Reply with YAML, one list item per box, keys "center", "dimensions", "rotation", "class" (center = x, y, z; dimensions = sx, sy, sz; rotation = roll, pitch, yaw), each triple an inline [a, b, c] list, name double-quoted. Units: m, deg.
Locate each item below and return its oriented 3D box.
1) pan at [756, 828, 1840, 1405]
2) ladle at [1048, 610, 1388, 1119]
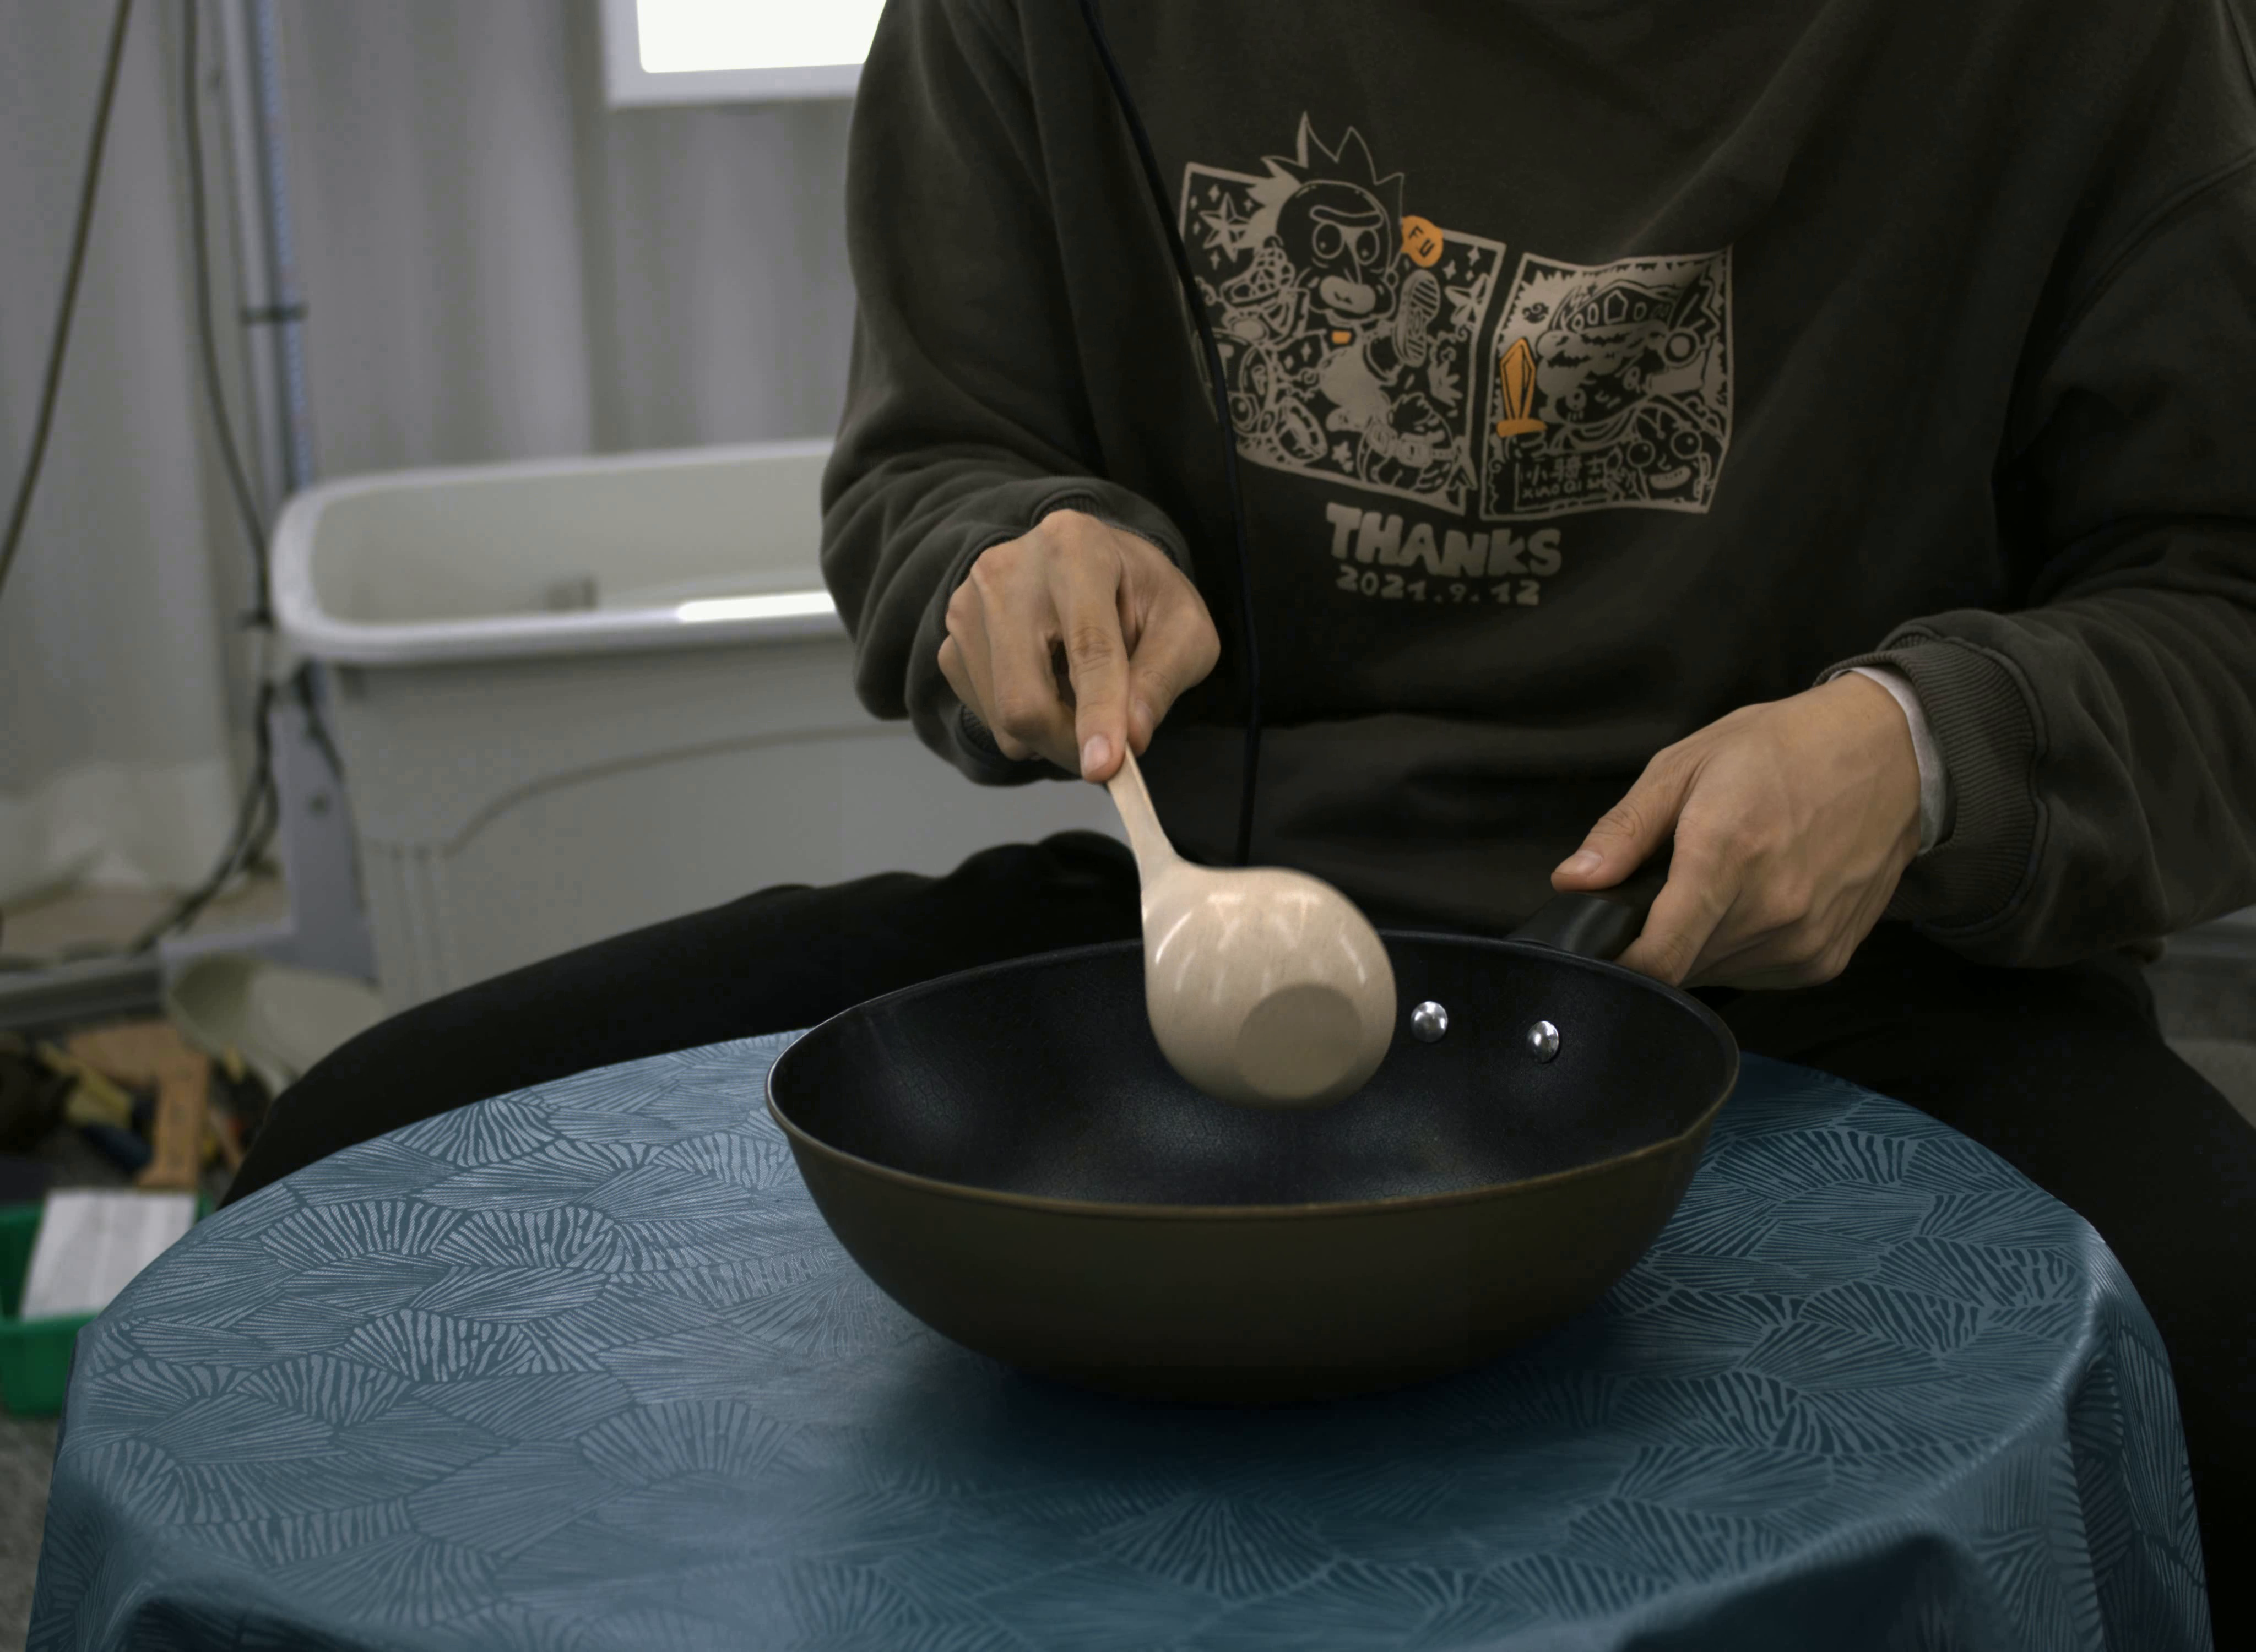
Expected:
- center: [0.087, 0.085, 1.661]
  dimensions: [0.289, 0.086, 0.463]
  rotation: [8, 17, 35]
  class: "pan"
- center: [0.024, 0.007, 1.713]
  dimensions: [0.072, 0.072, 0.257]
  rotation: [32, 17, -23]
  class: "ladle"
